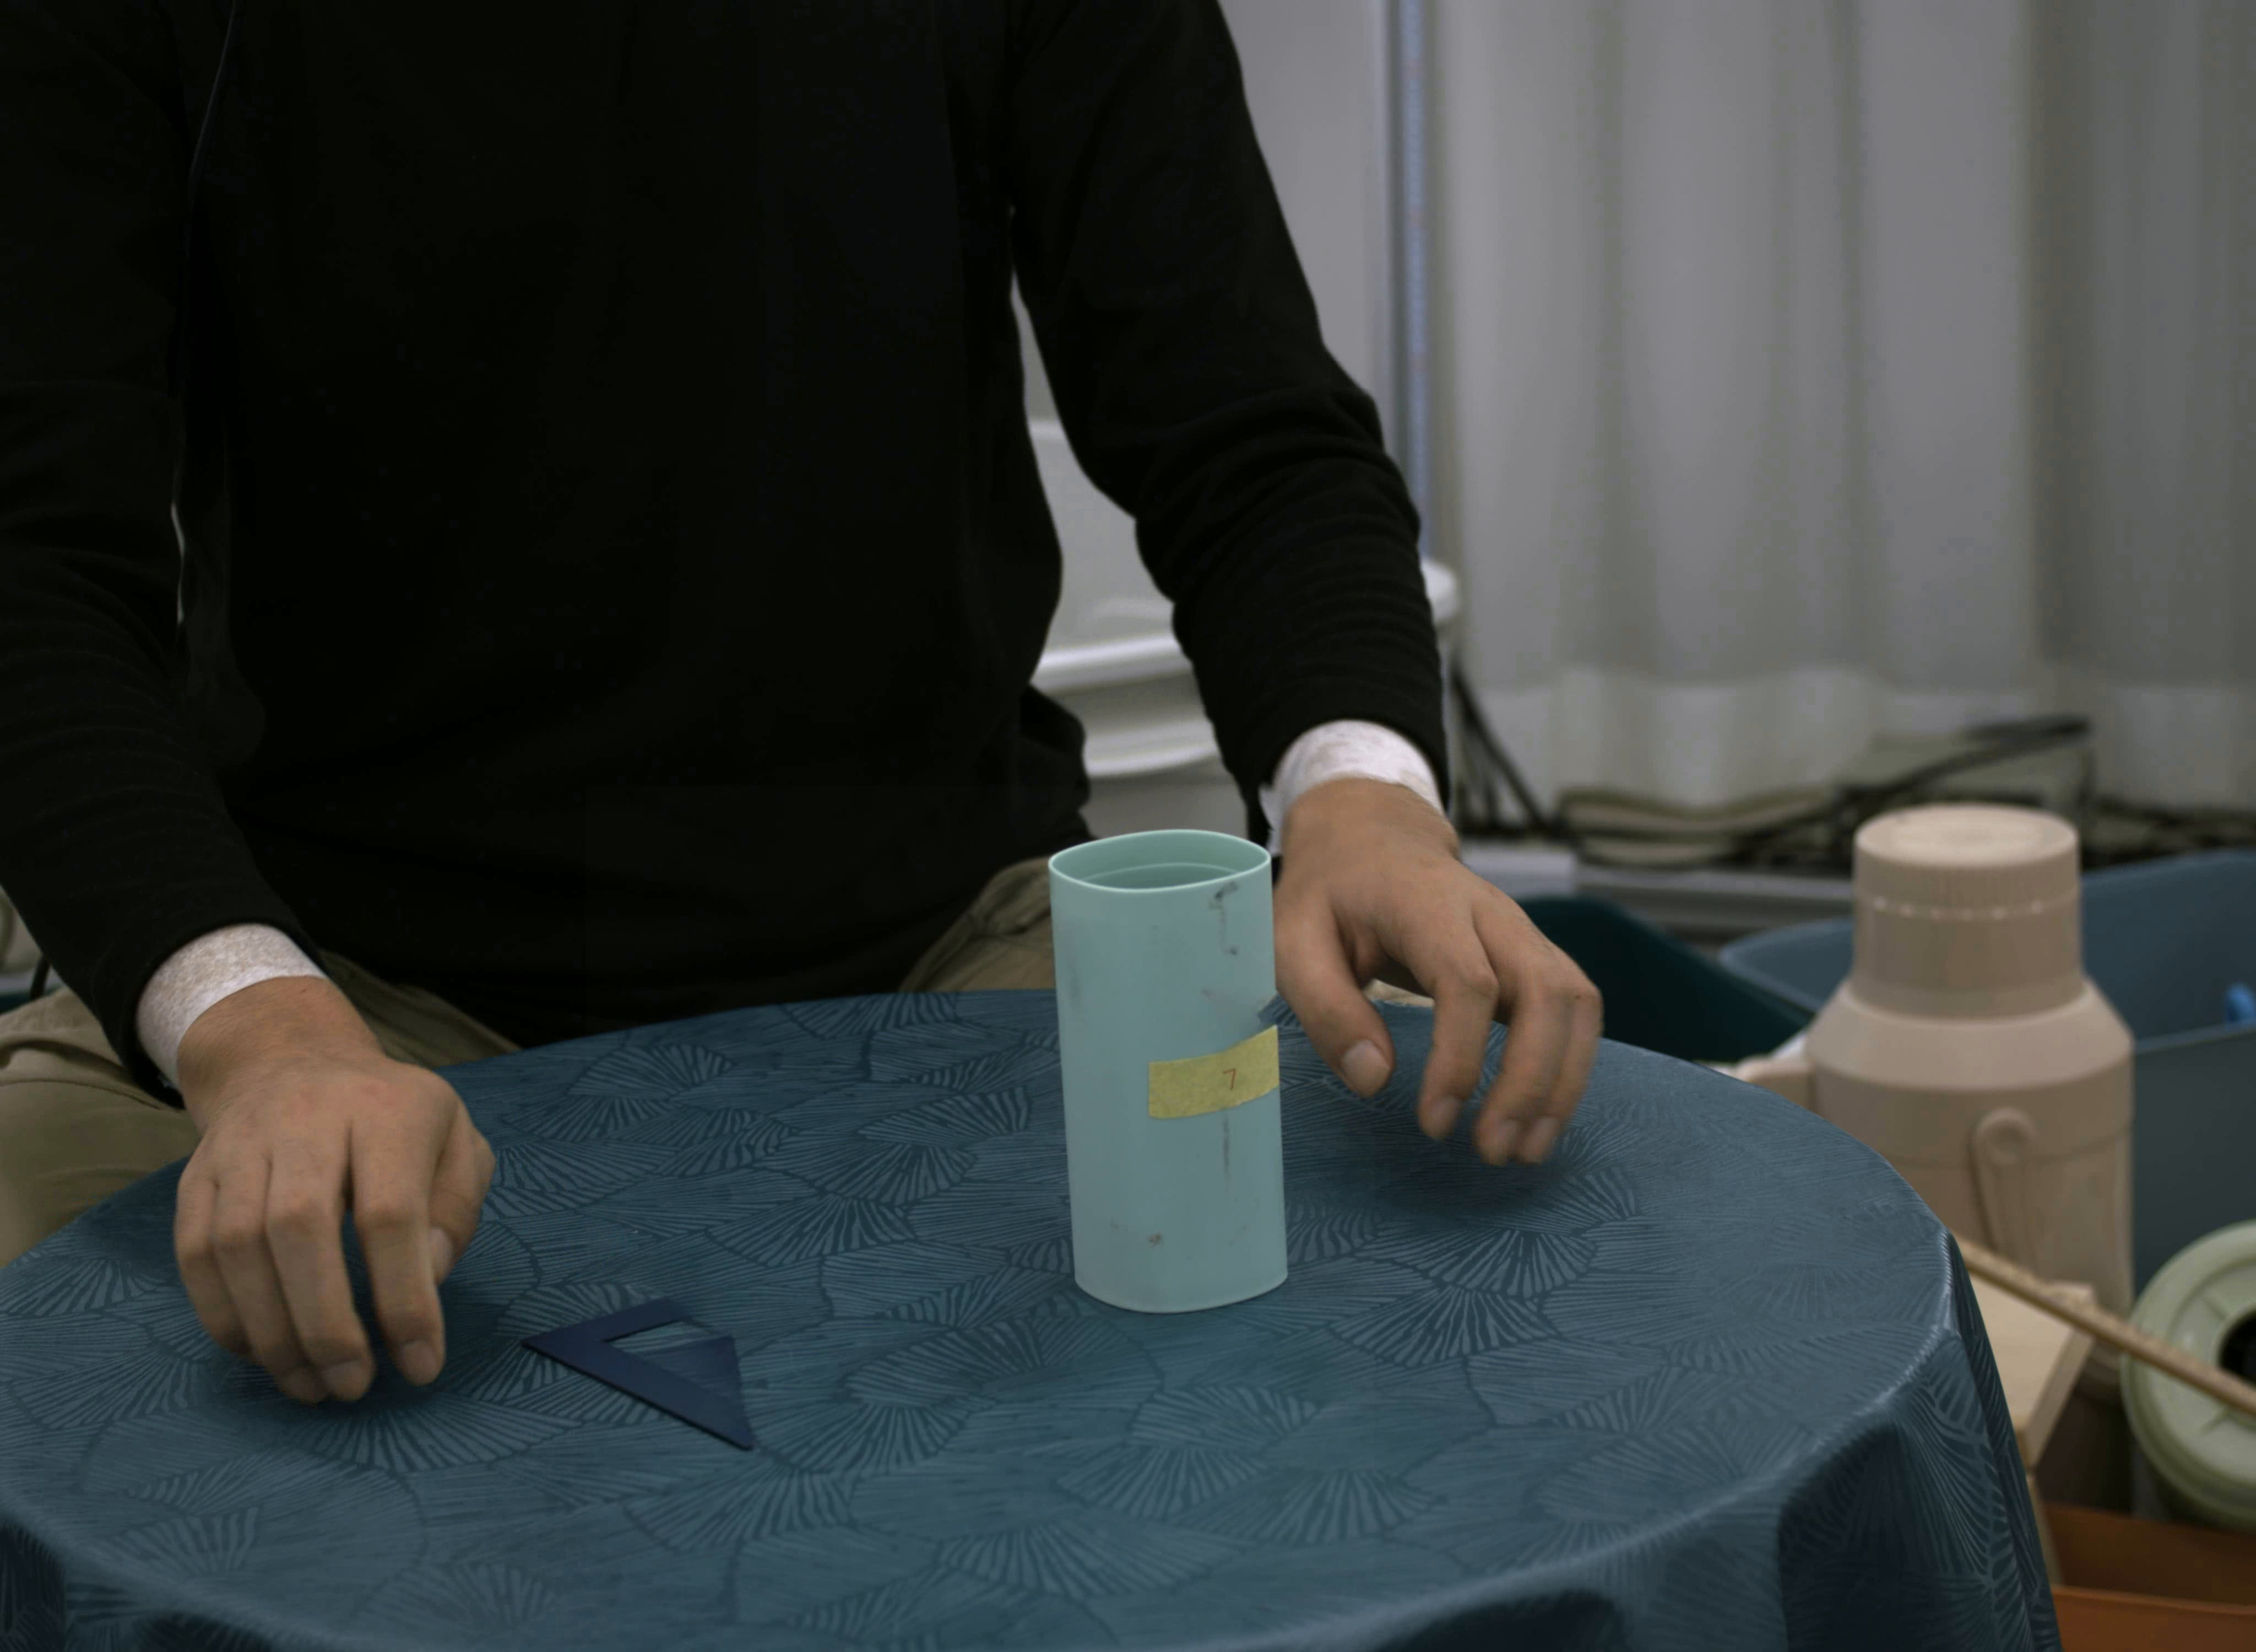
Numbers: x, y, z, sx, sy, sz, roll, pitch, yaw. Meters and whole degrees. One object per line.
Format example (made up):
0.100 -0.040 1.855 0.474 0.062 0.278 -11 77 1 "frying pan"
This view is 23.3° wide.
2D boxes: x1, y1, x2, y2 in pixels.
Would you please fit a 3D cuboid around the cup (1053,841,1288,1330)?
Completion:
0.013 0.076 1.620 0.066 0.132 0.067 -3 14 0 "cup"

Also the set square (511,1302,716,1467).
-0.148 0.160 1.566 0.061 0.006 0.133 -3 15 -3 "set square"
